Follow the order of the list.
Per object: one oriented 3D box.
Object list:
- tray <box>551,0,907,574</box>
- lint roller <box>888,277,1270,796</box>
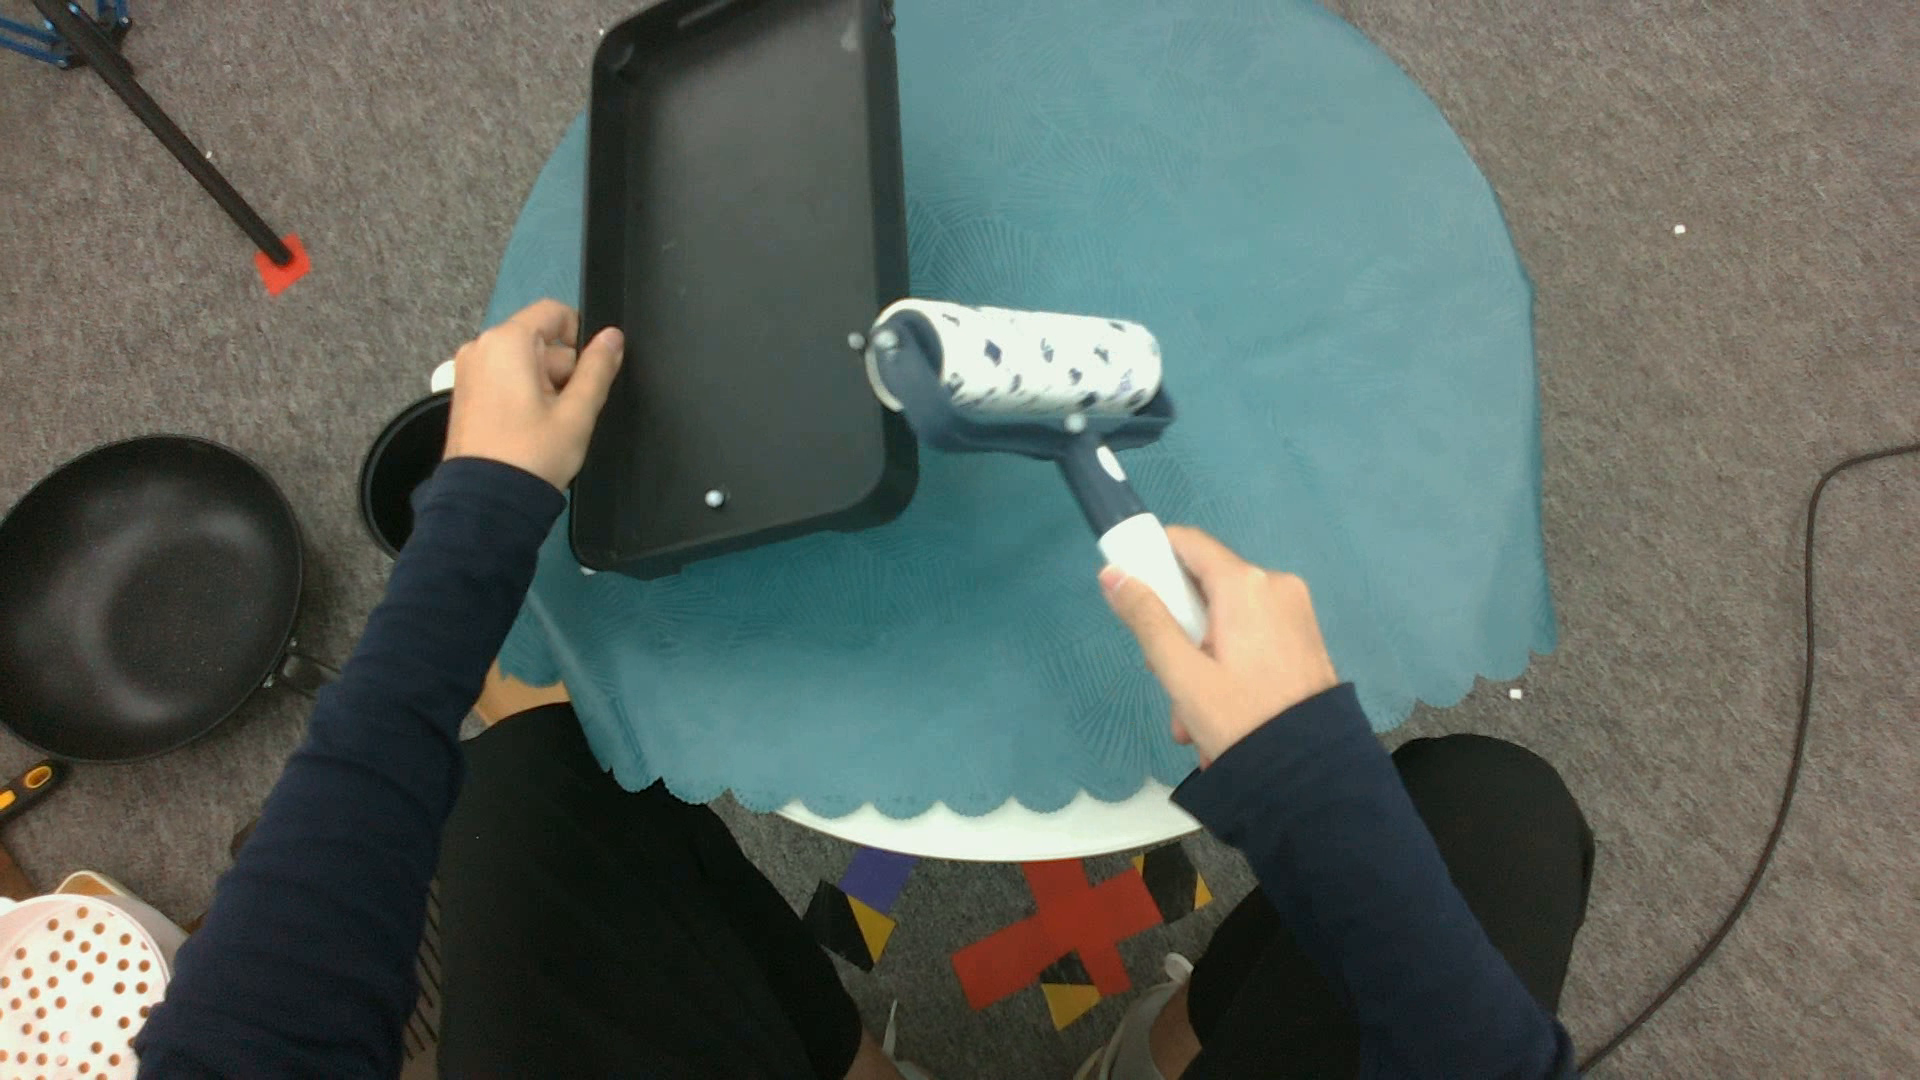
[{"bbox_3d":[-0.119,-0.147,0.694,0.184,0.037,0.319,-11,70,23],"label":"tray"},{"bbox_3d":[0.079,-0.006,0.612,0.050,0.177,0.247,-39,68,35],"label":"lint roller"}]
